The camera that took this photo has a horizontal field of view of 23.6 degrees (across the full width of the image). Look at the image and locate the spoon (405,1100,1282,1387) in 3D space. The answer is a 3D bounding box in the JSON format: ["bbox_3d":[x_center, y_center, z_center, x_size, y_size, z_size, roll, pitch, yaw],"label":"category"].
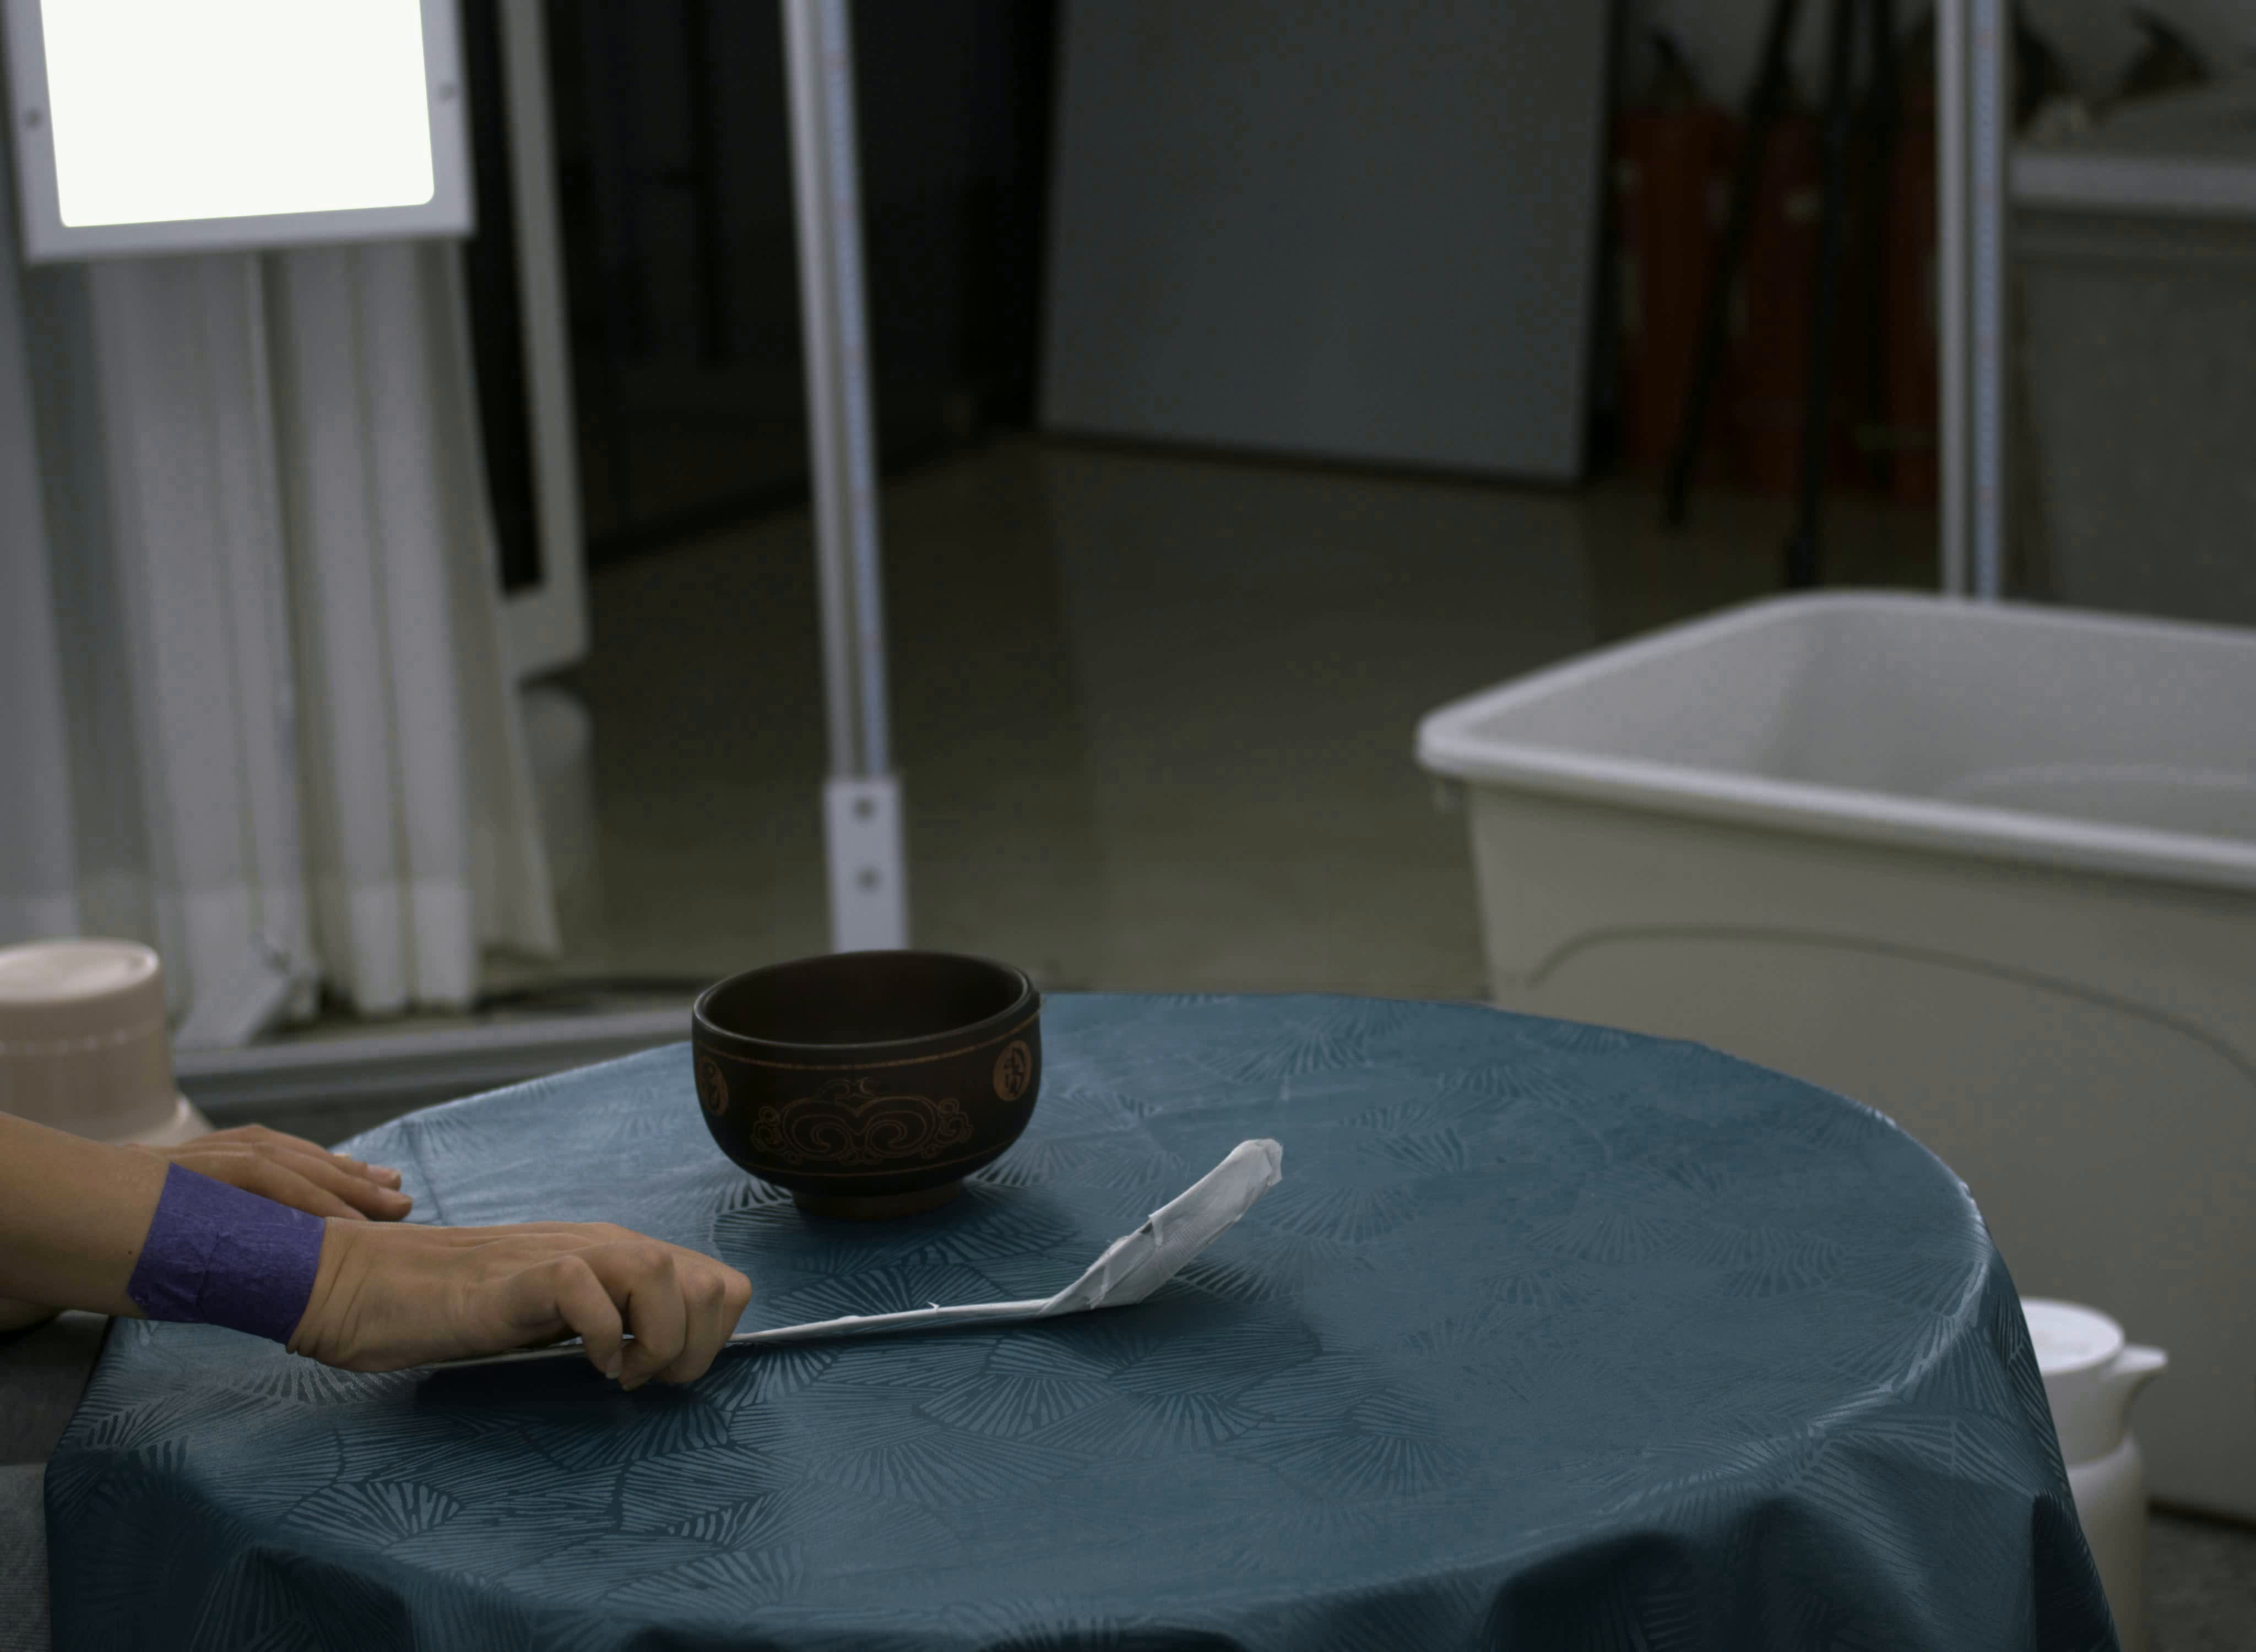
[{"bbox_3d":[-0.086,0.129,1.656,0.274,0.060,0.100,-6,-12,-1],"label":"spoon"}]

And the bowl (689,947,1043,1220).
[{"bbox_3d":[-0.085,0.088,1.777,0.116,0.070,0.118,-4,13,0],"label":"bowl"}]
